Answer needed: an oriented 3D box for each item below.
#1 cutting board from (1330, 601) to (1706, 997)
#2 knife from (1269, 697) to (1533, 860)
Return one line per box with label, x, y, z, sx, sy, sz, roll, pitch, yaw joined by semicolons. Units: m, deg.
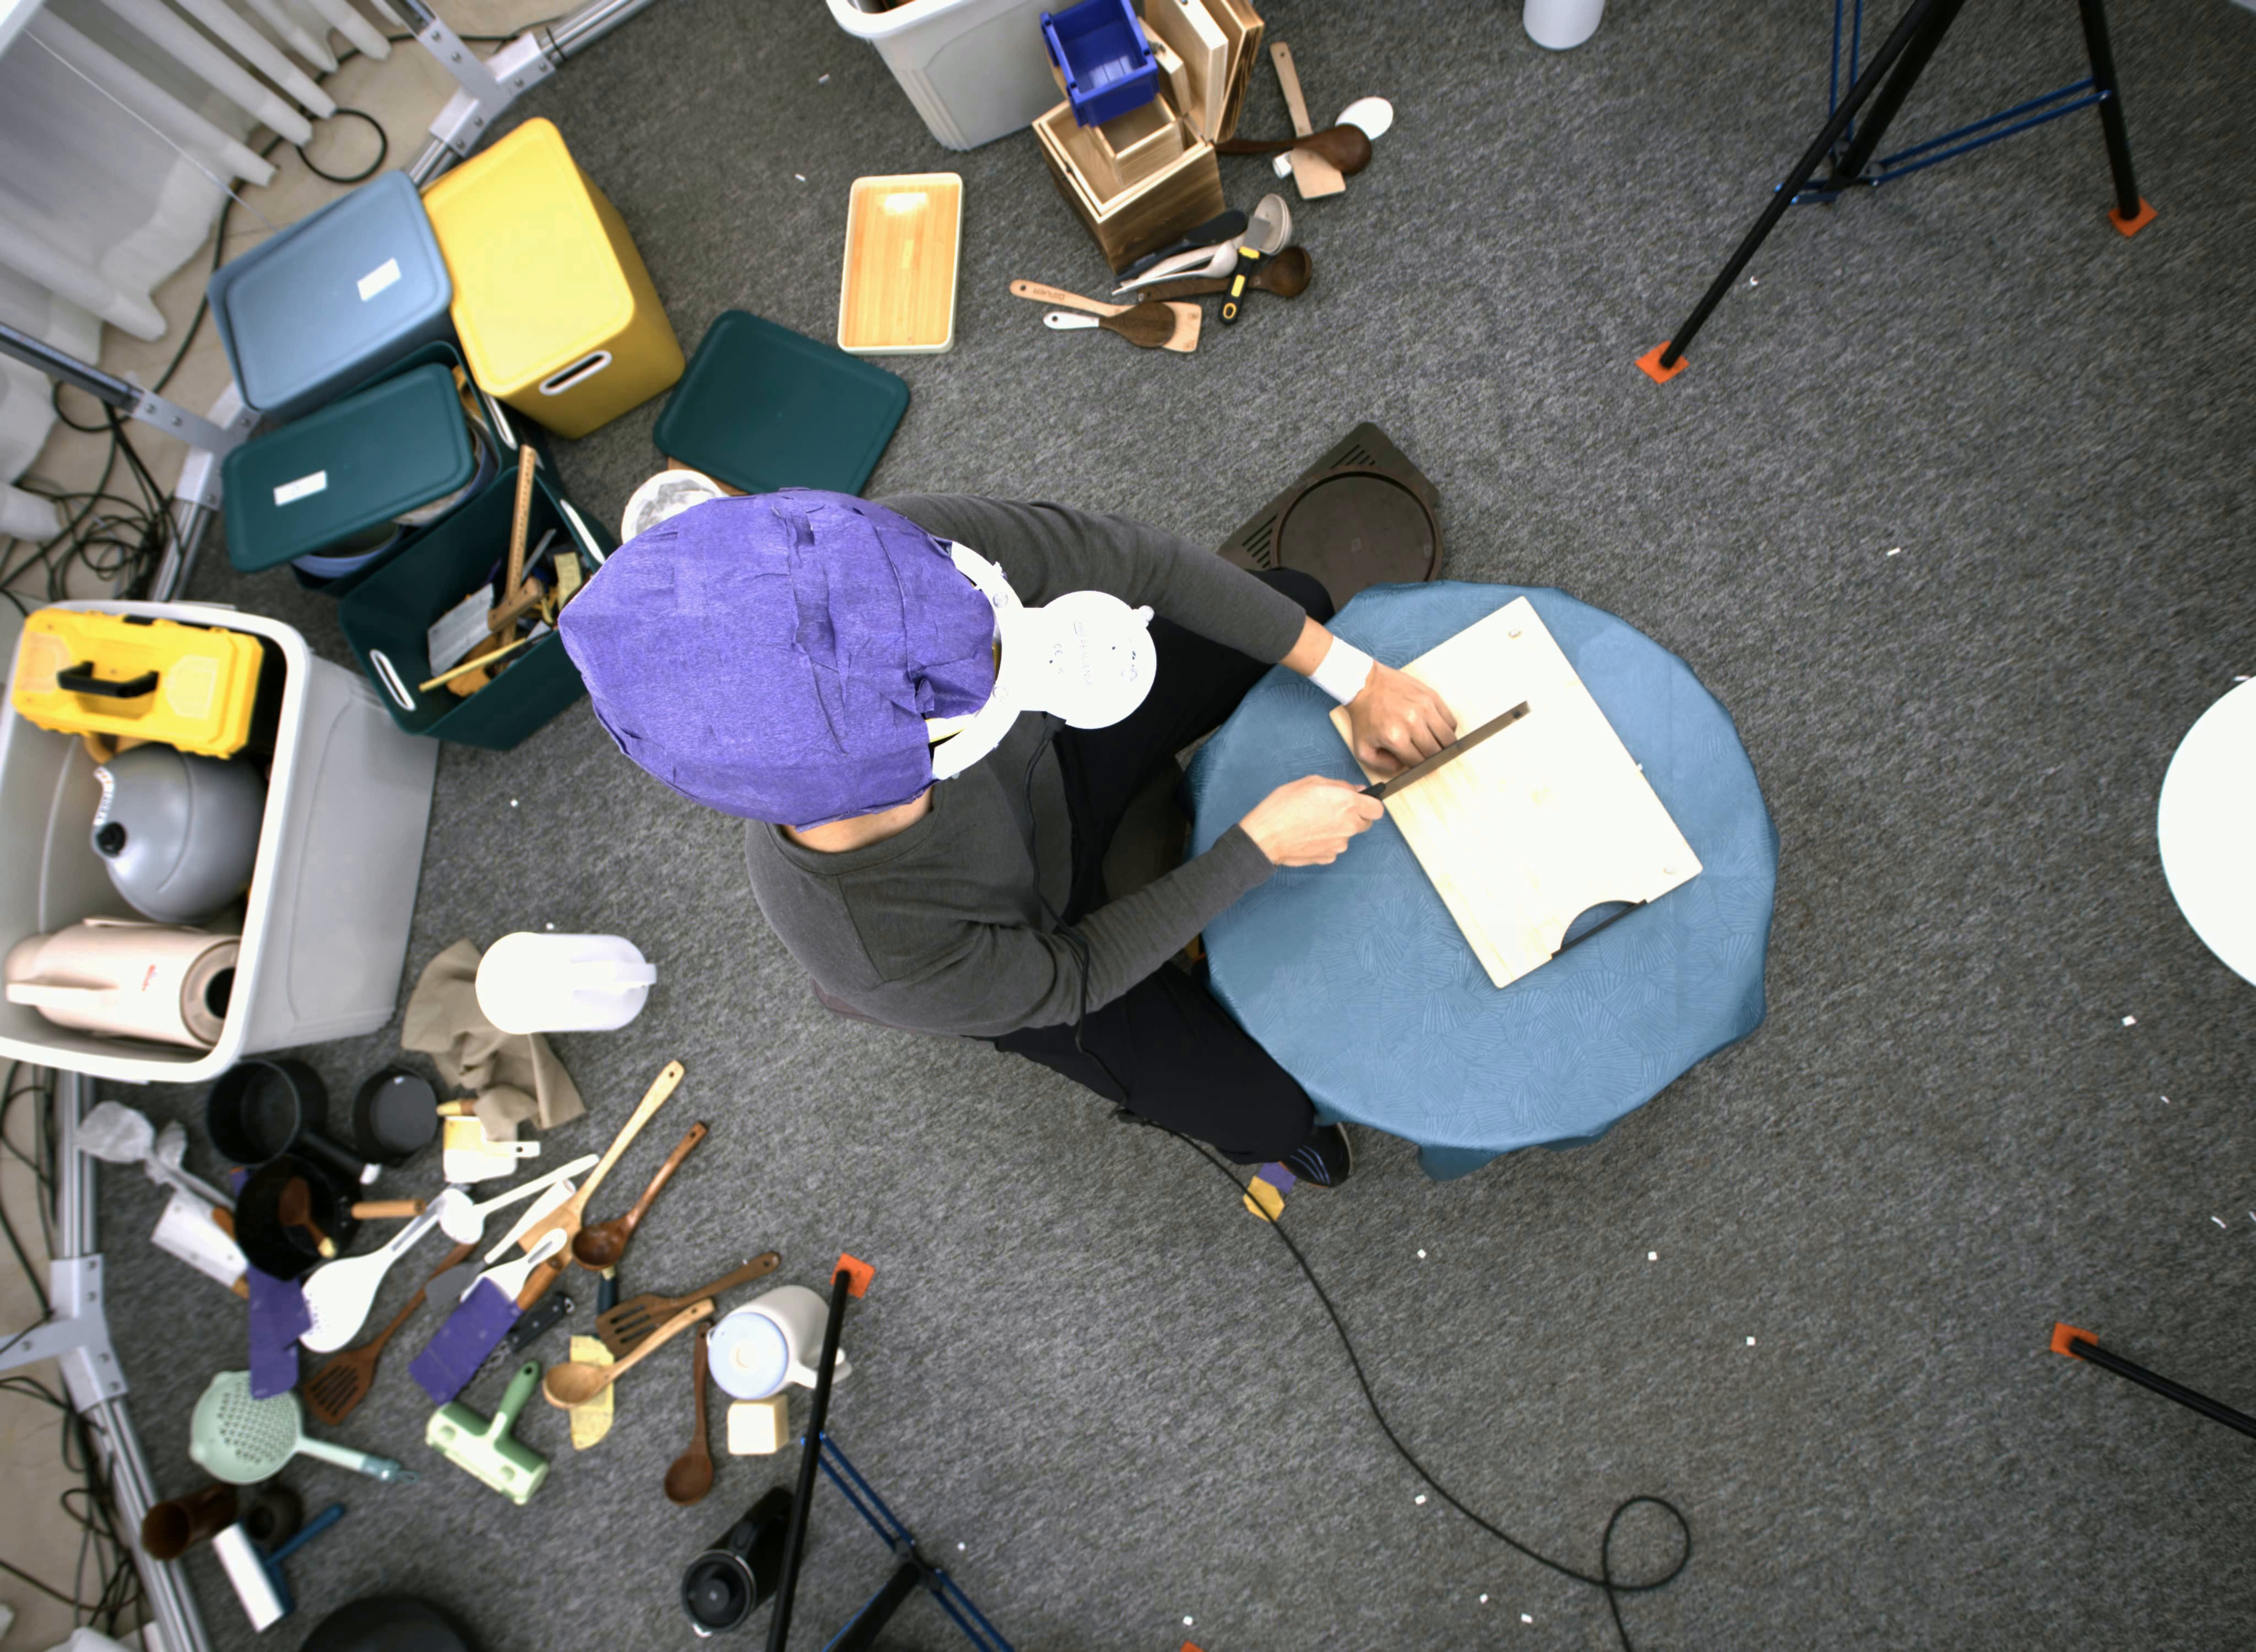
cutting board;0.402;-0.035;1.433;0.252;0.023;0.346;-32;81;8
knife;0.276;-0.048;1.385;0.303;0.081;0.020;-30;74;4
